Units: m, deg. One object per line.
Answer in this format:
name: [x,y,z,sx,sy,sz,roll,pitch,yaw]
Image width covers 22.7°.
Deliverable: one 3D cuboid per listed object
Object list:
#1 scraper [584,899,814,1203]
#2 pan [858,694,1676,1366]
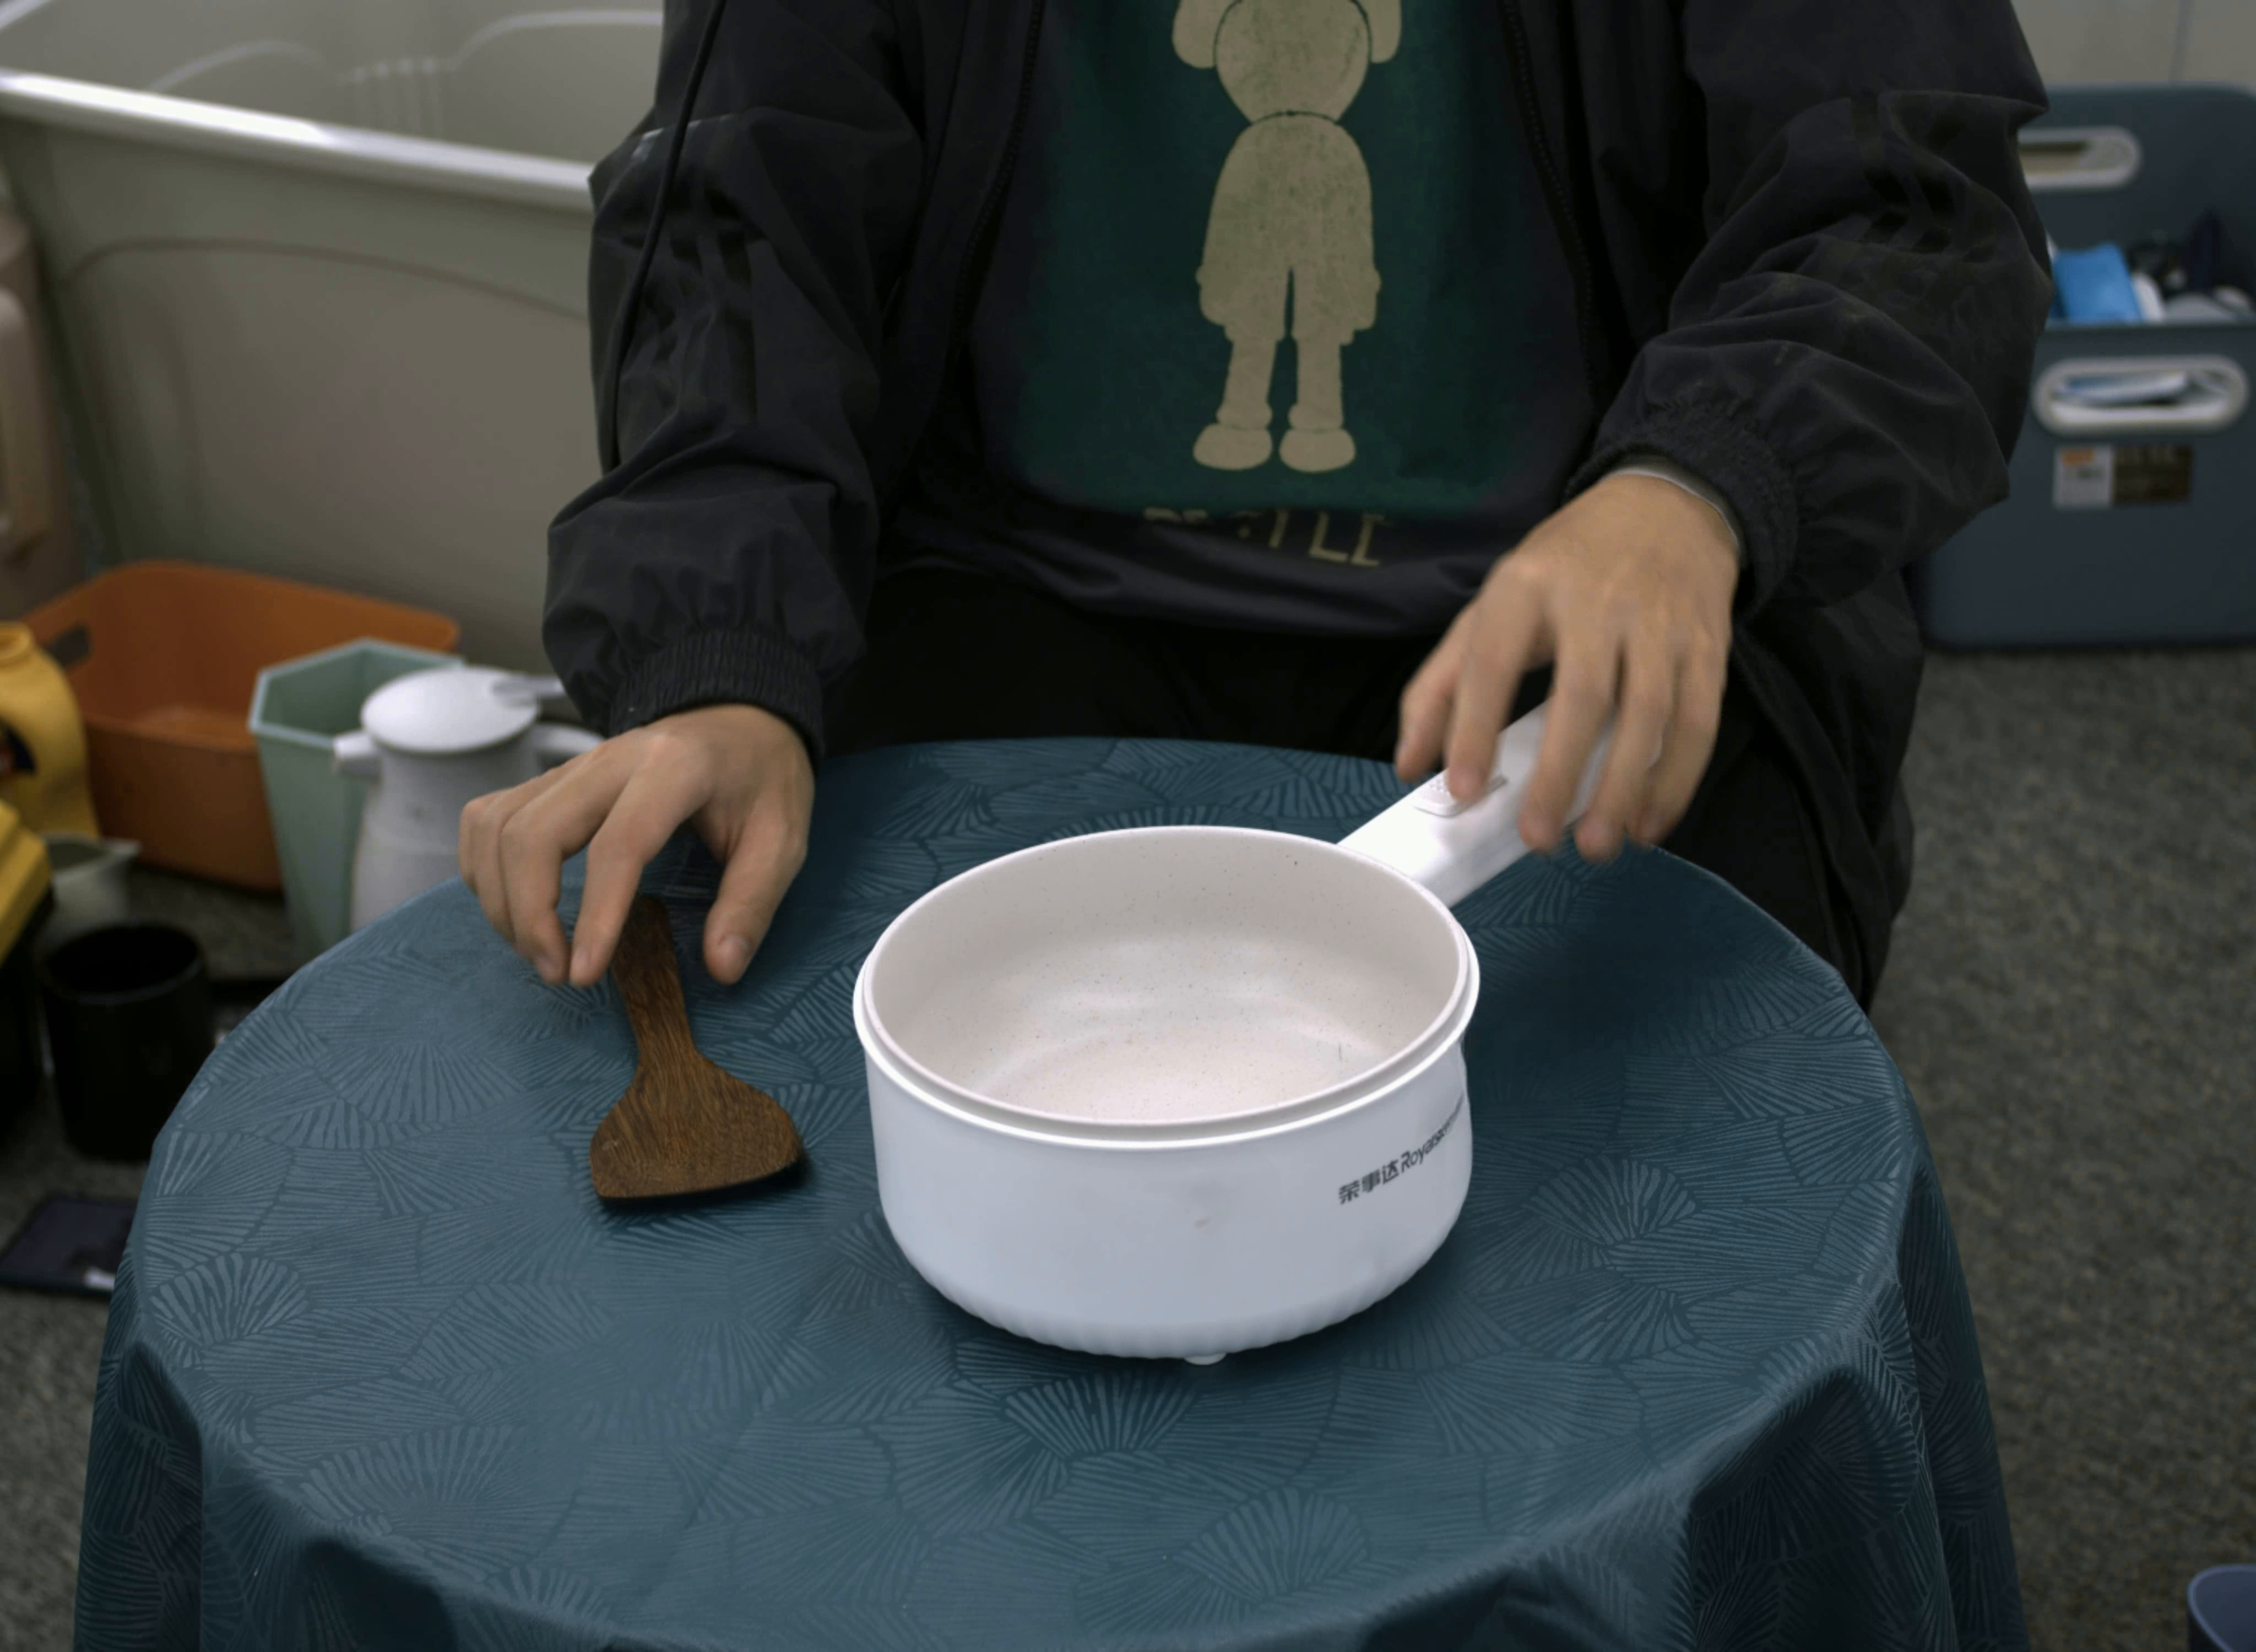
scraper: [-0.160,0.077,1.949,0.076,0.011,0.214,-7,28,-10]
pan: [0.064,0.062,1.865,0.200,0.101,0.359,17,31,36]
